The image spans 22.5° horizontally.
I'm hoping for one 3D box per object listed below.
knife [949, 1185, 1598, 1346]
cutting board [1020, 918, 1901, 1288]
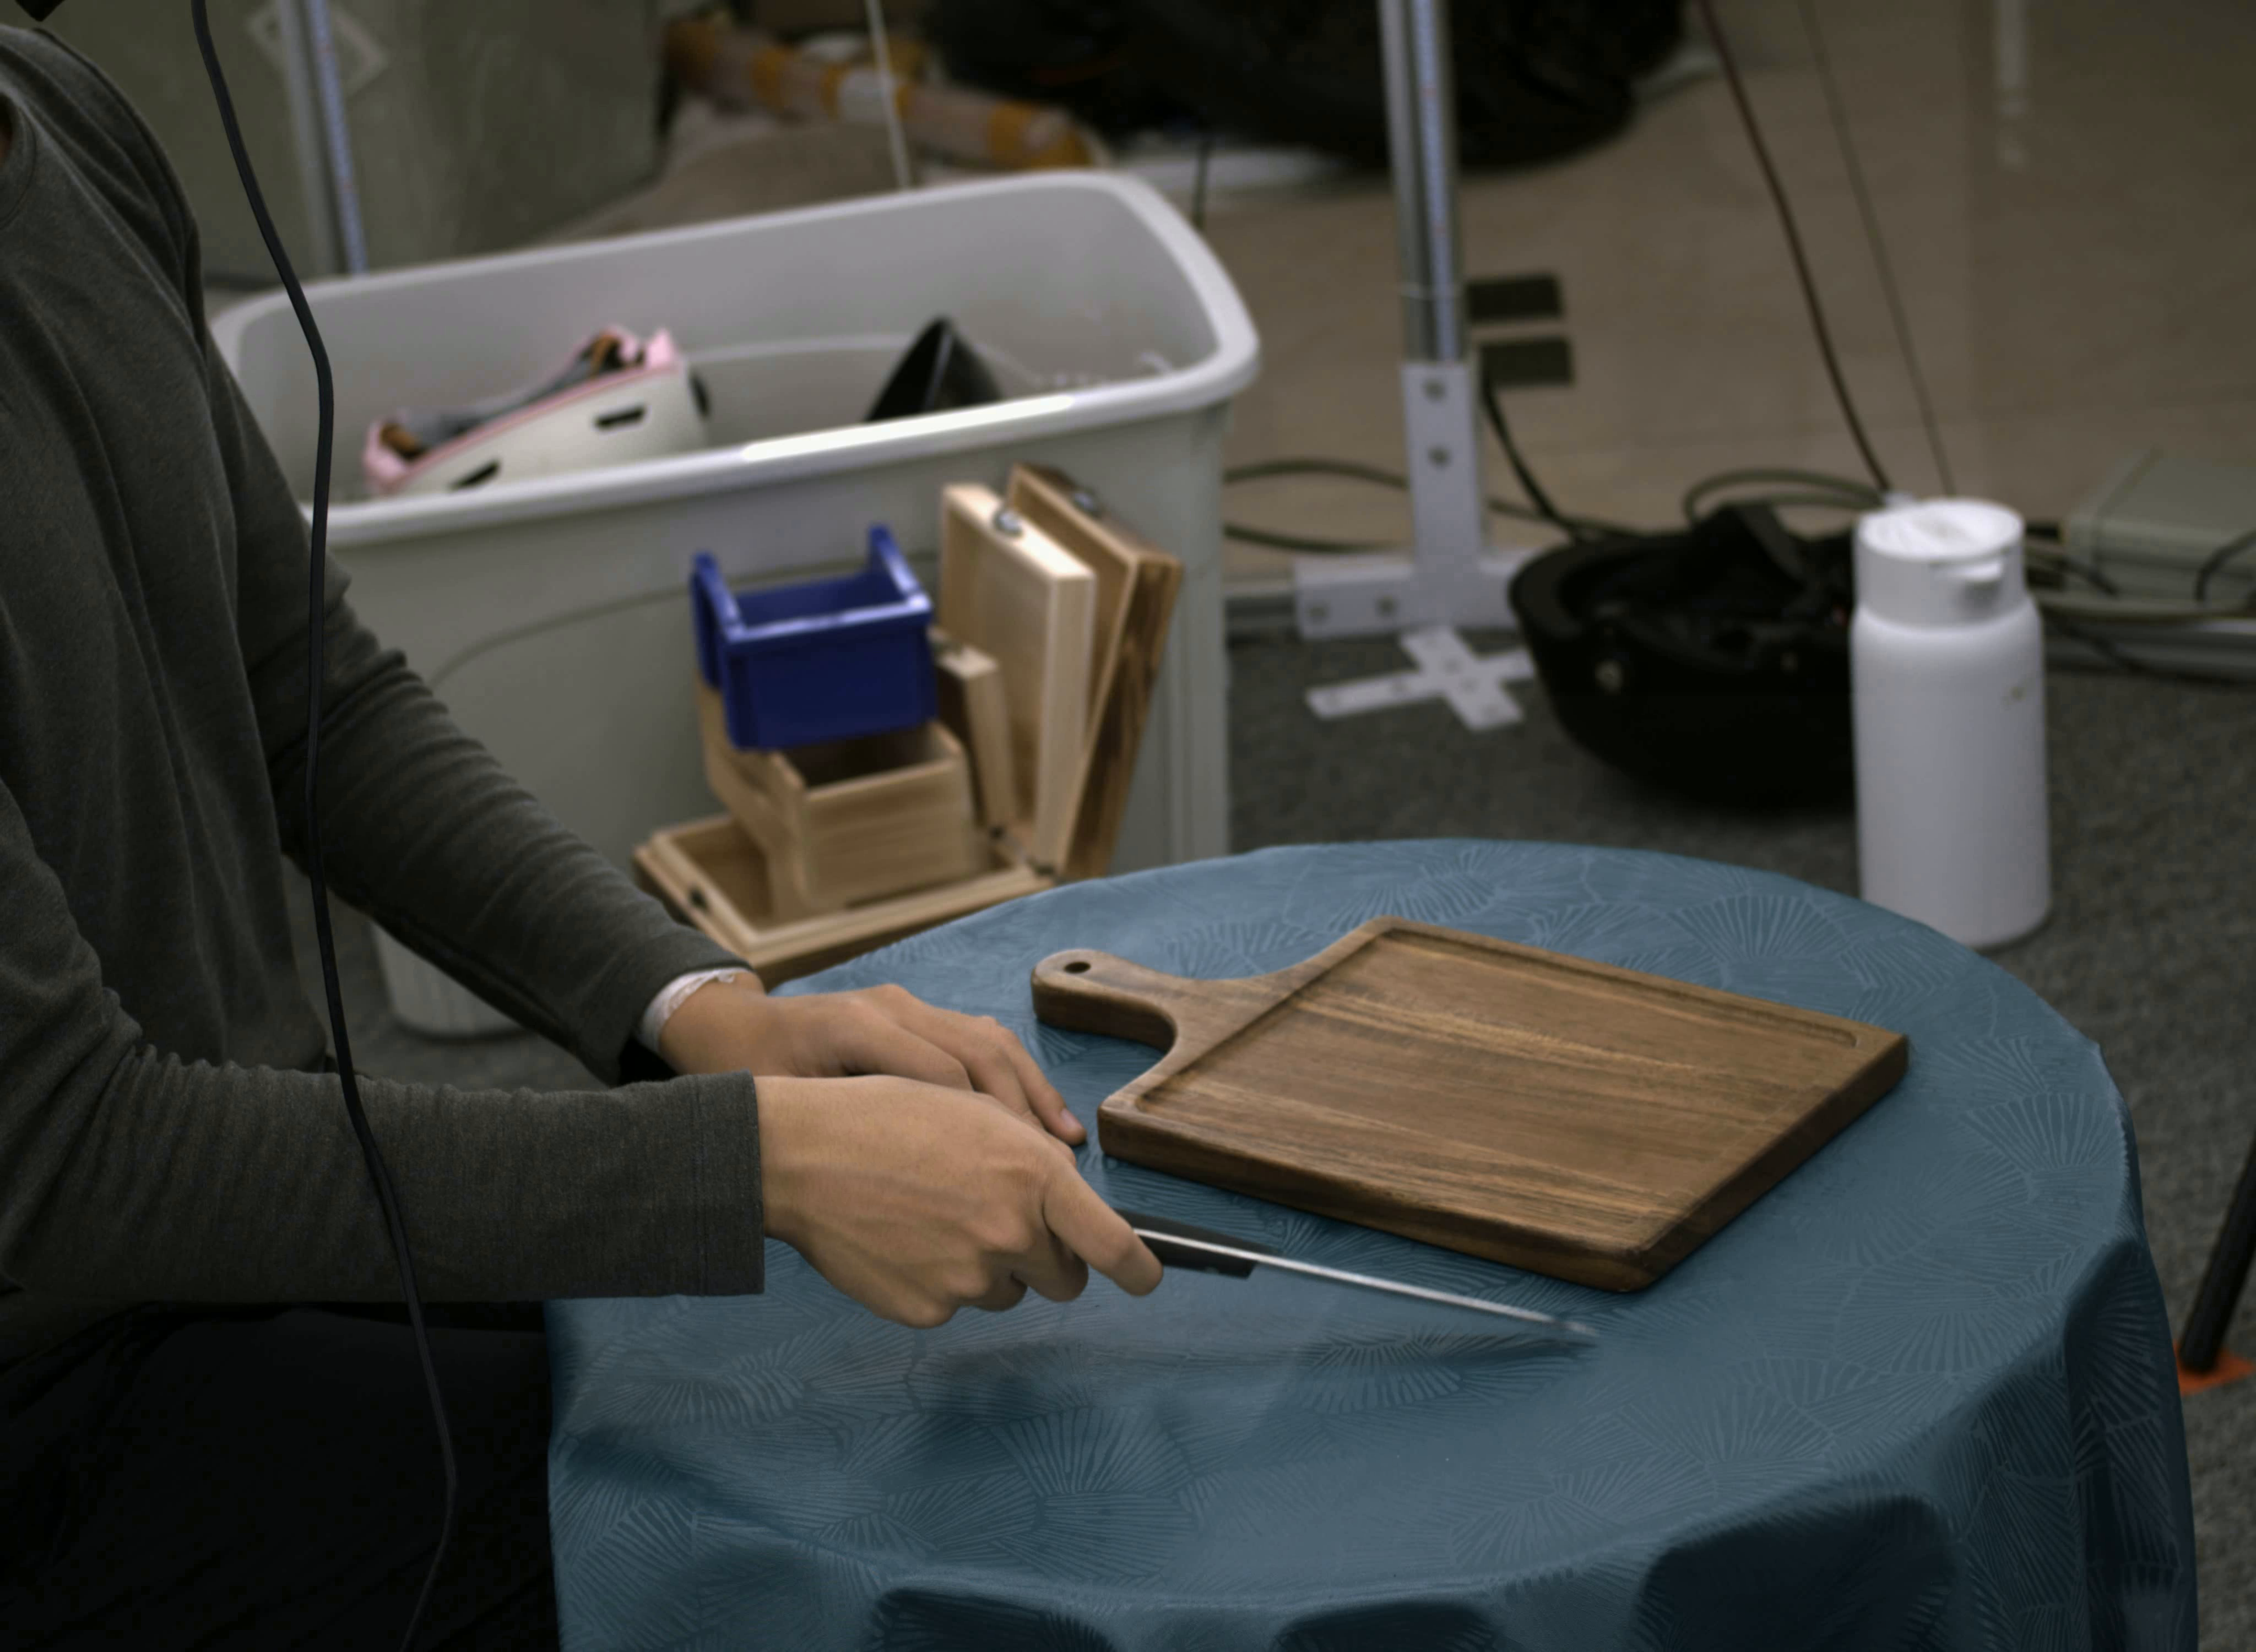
[{"bbox_3d":[0.051,0.159,2.025,0.237,0.016,0.024,12,-6,6],"label":"knife"},{"bbox_3d":[0.102,0.093,2.201,0.350,0.023,0.199,12,30,36],"label":"cutting board"}]
